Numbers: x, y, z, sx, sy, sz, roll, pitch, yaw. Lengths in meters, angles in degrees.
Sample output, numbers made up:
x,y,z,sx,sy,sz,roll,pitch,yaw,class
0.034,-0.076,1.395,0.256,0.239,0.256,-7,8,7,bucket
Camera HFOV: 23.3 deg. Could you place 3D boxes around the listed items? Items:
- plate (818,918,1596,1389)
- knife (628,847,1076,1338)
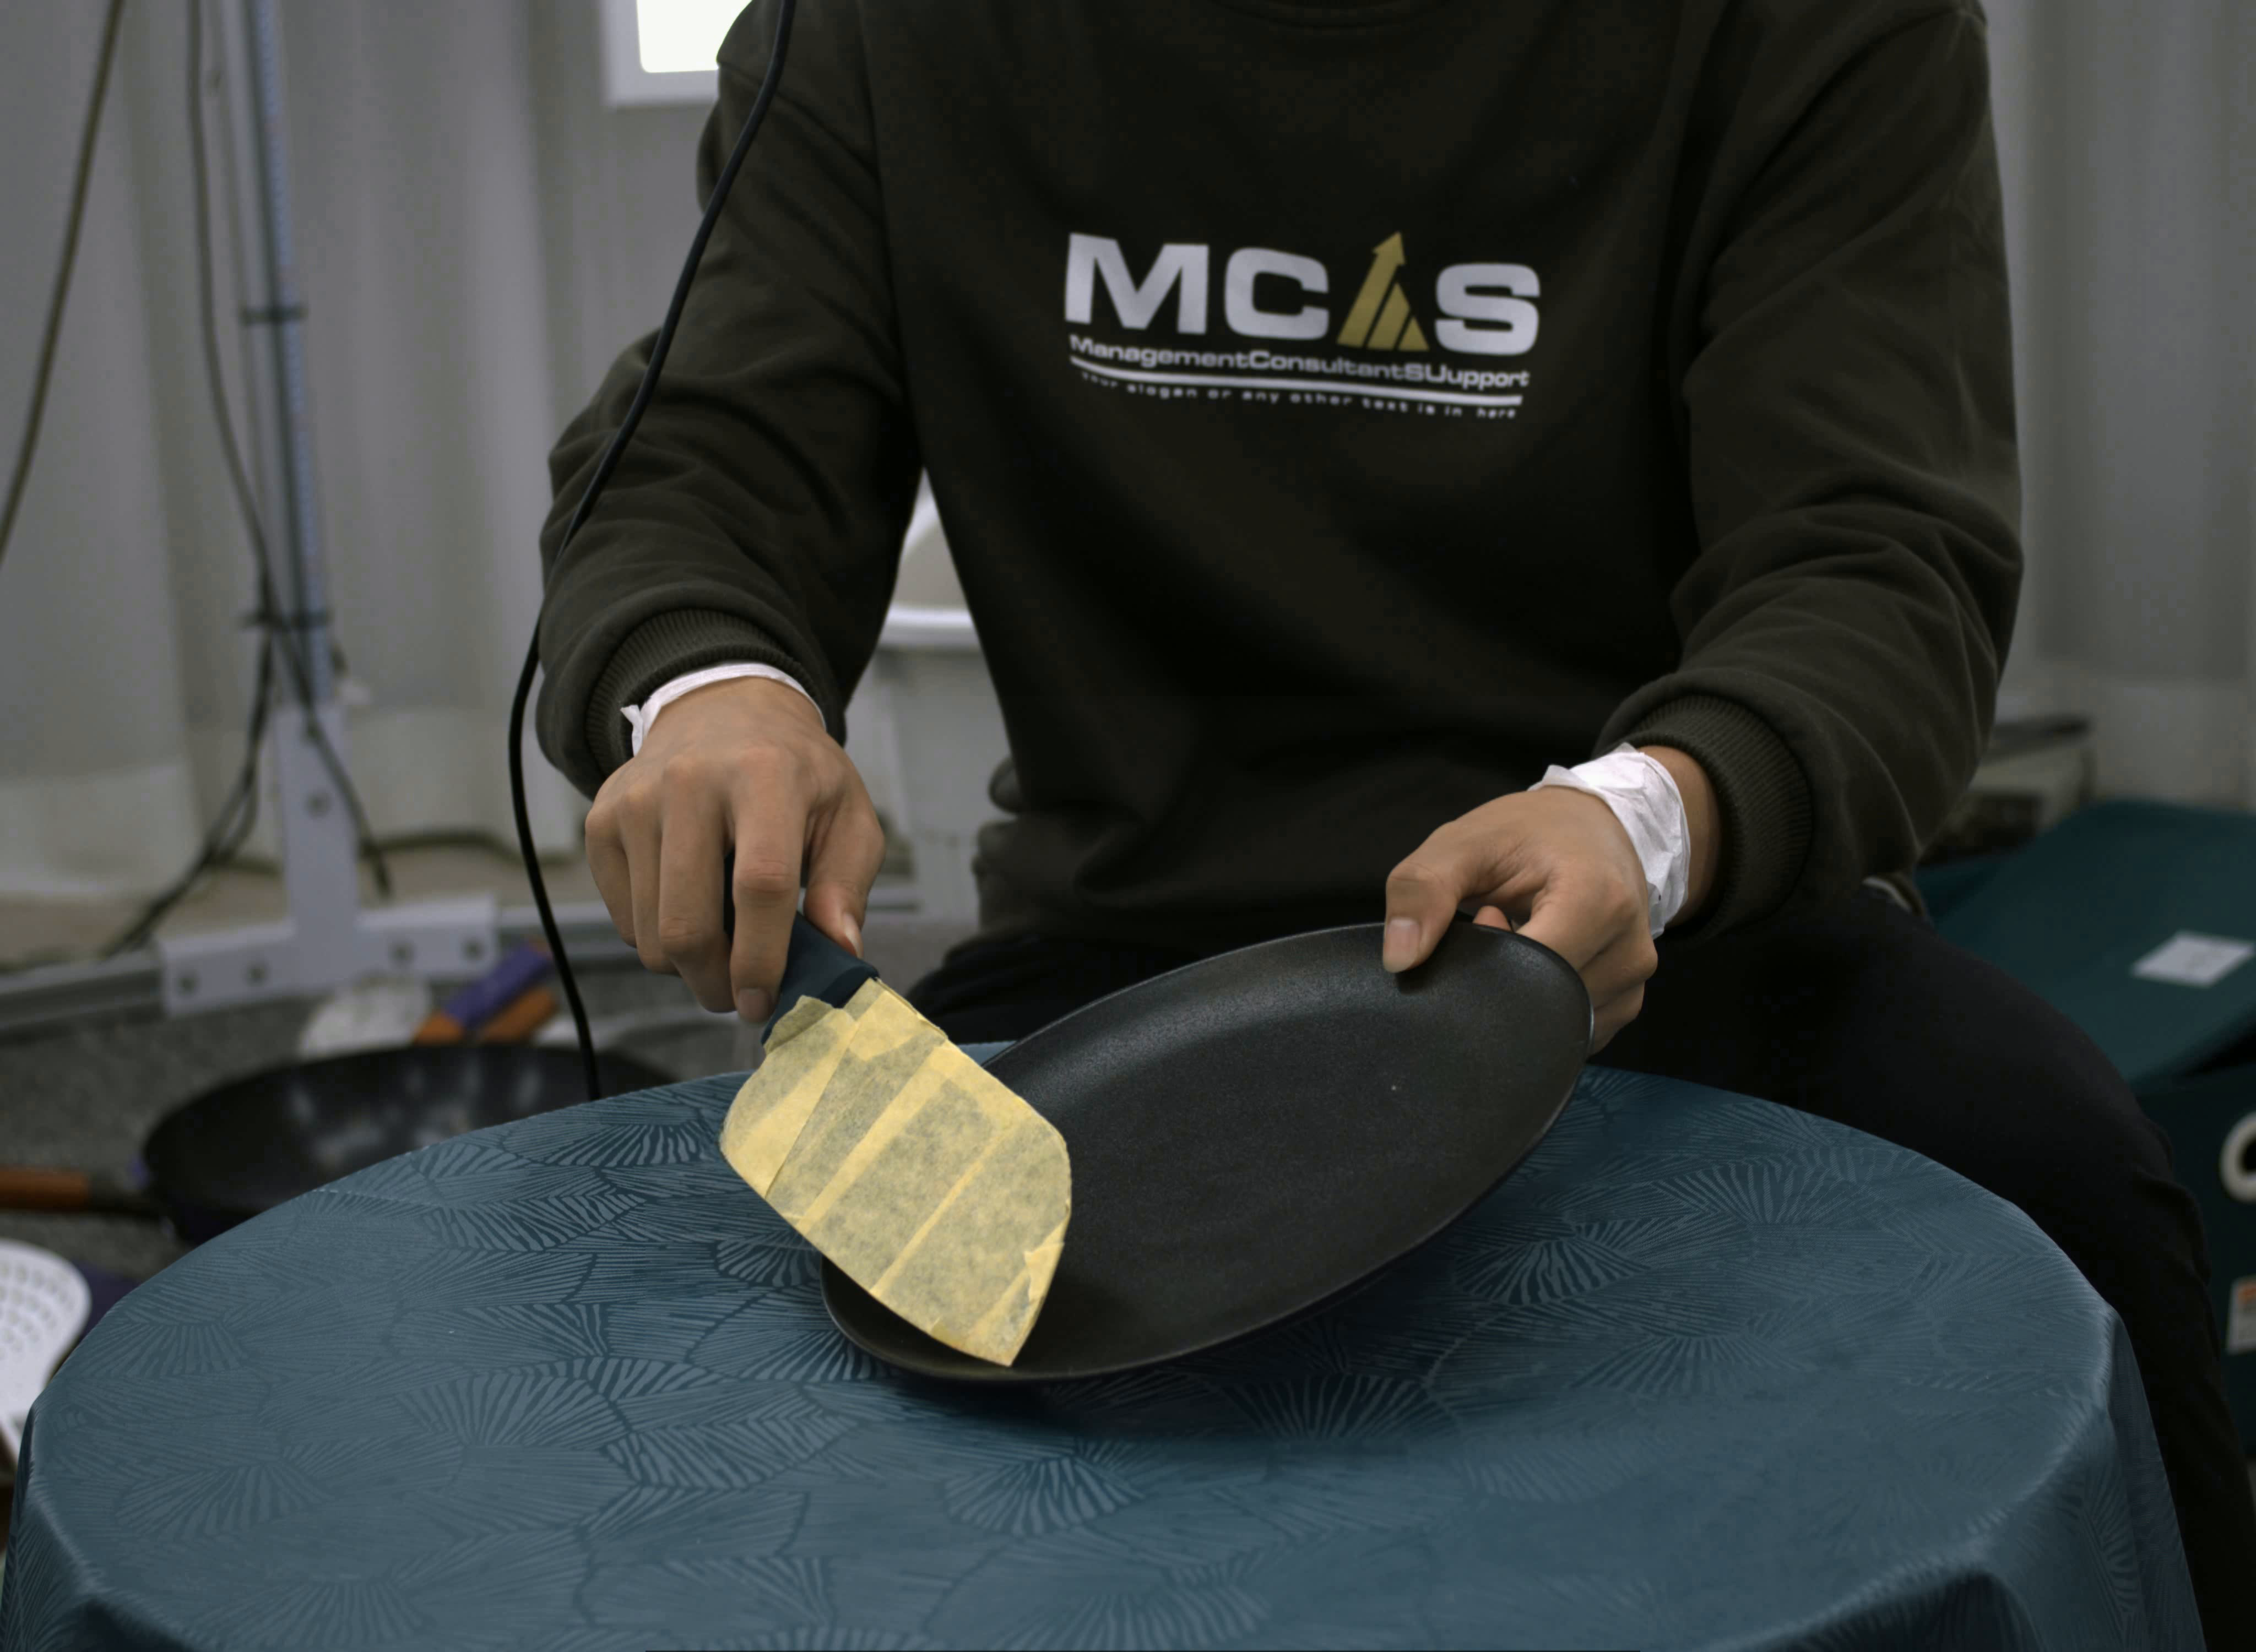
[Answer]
x,y,z,sx,sy,sz,roll,pitch,yaw,class
0.025,0.100,1.608,0.244,0.023,0.247,-19,23,8,plate
-0.092,0.077,1.653,0.081,0.027,0.293,-47,37,-2,knife
